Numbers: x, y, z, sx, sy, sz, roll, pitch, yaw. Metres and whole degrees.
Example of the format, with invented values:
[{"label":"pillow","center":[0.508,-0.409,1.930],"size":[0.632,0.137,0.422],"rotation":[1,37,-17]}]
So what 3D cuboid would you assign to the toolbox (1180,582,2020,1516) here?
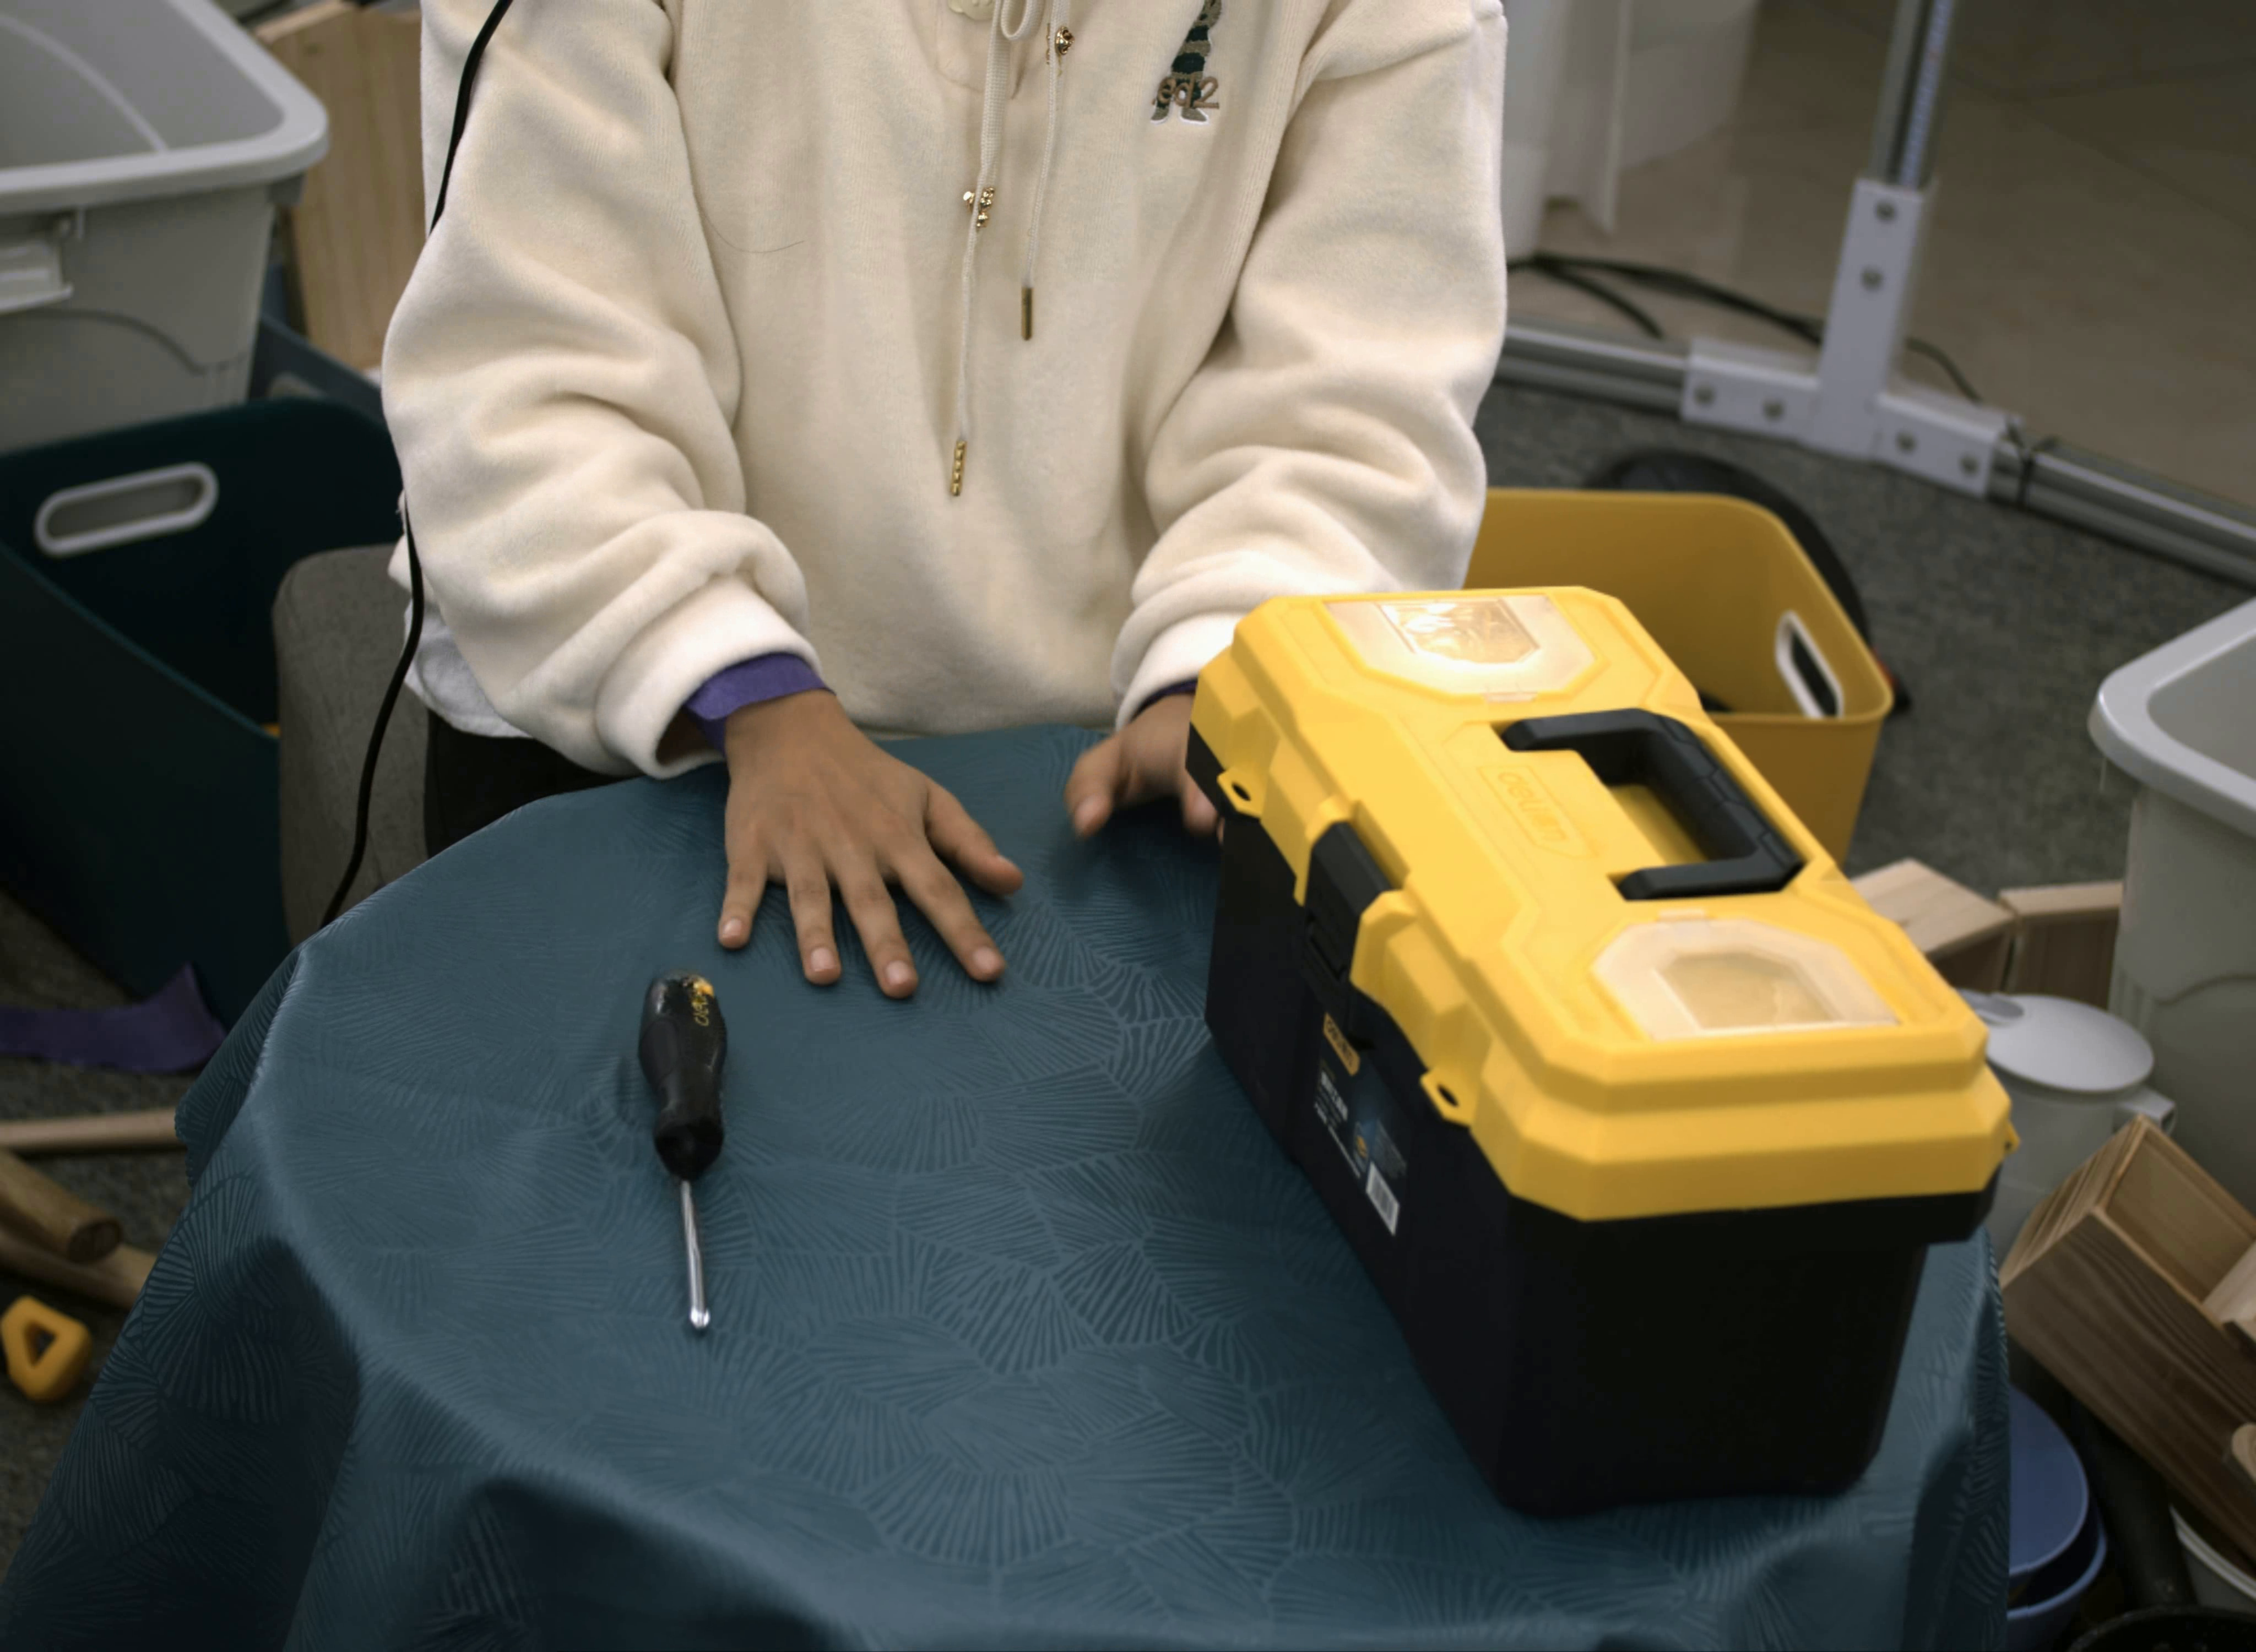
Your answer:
[{"label":"toolbox","center":[0.142,0.066,1.756],"size":[0.180,0.172,0.354],"rotation":[-2,28,-17]}]

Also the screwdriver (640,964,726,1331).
[{"label":"screwdriver","center":[-0.146,0.104,1.771],"size":[0.031,0.031,0.198],"rotation":[3,29,-8]}]
